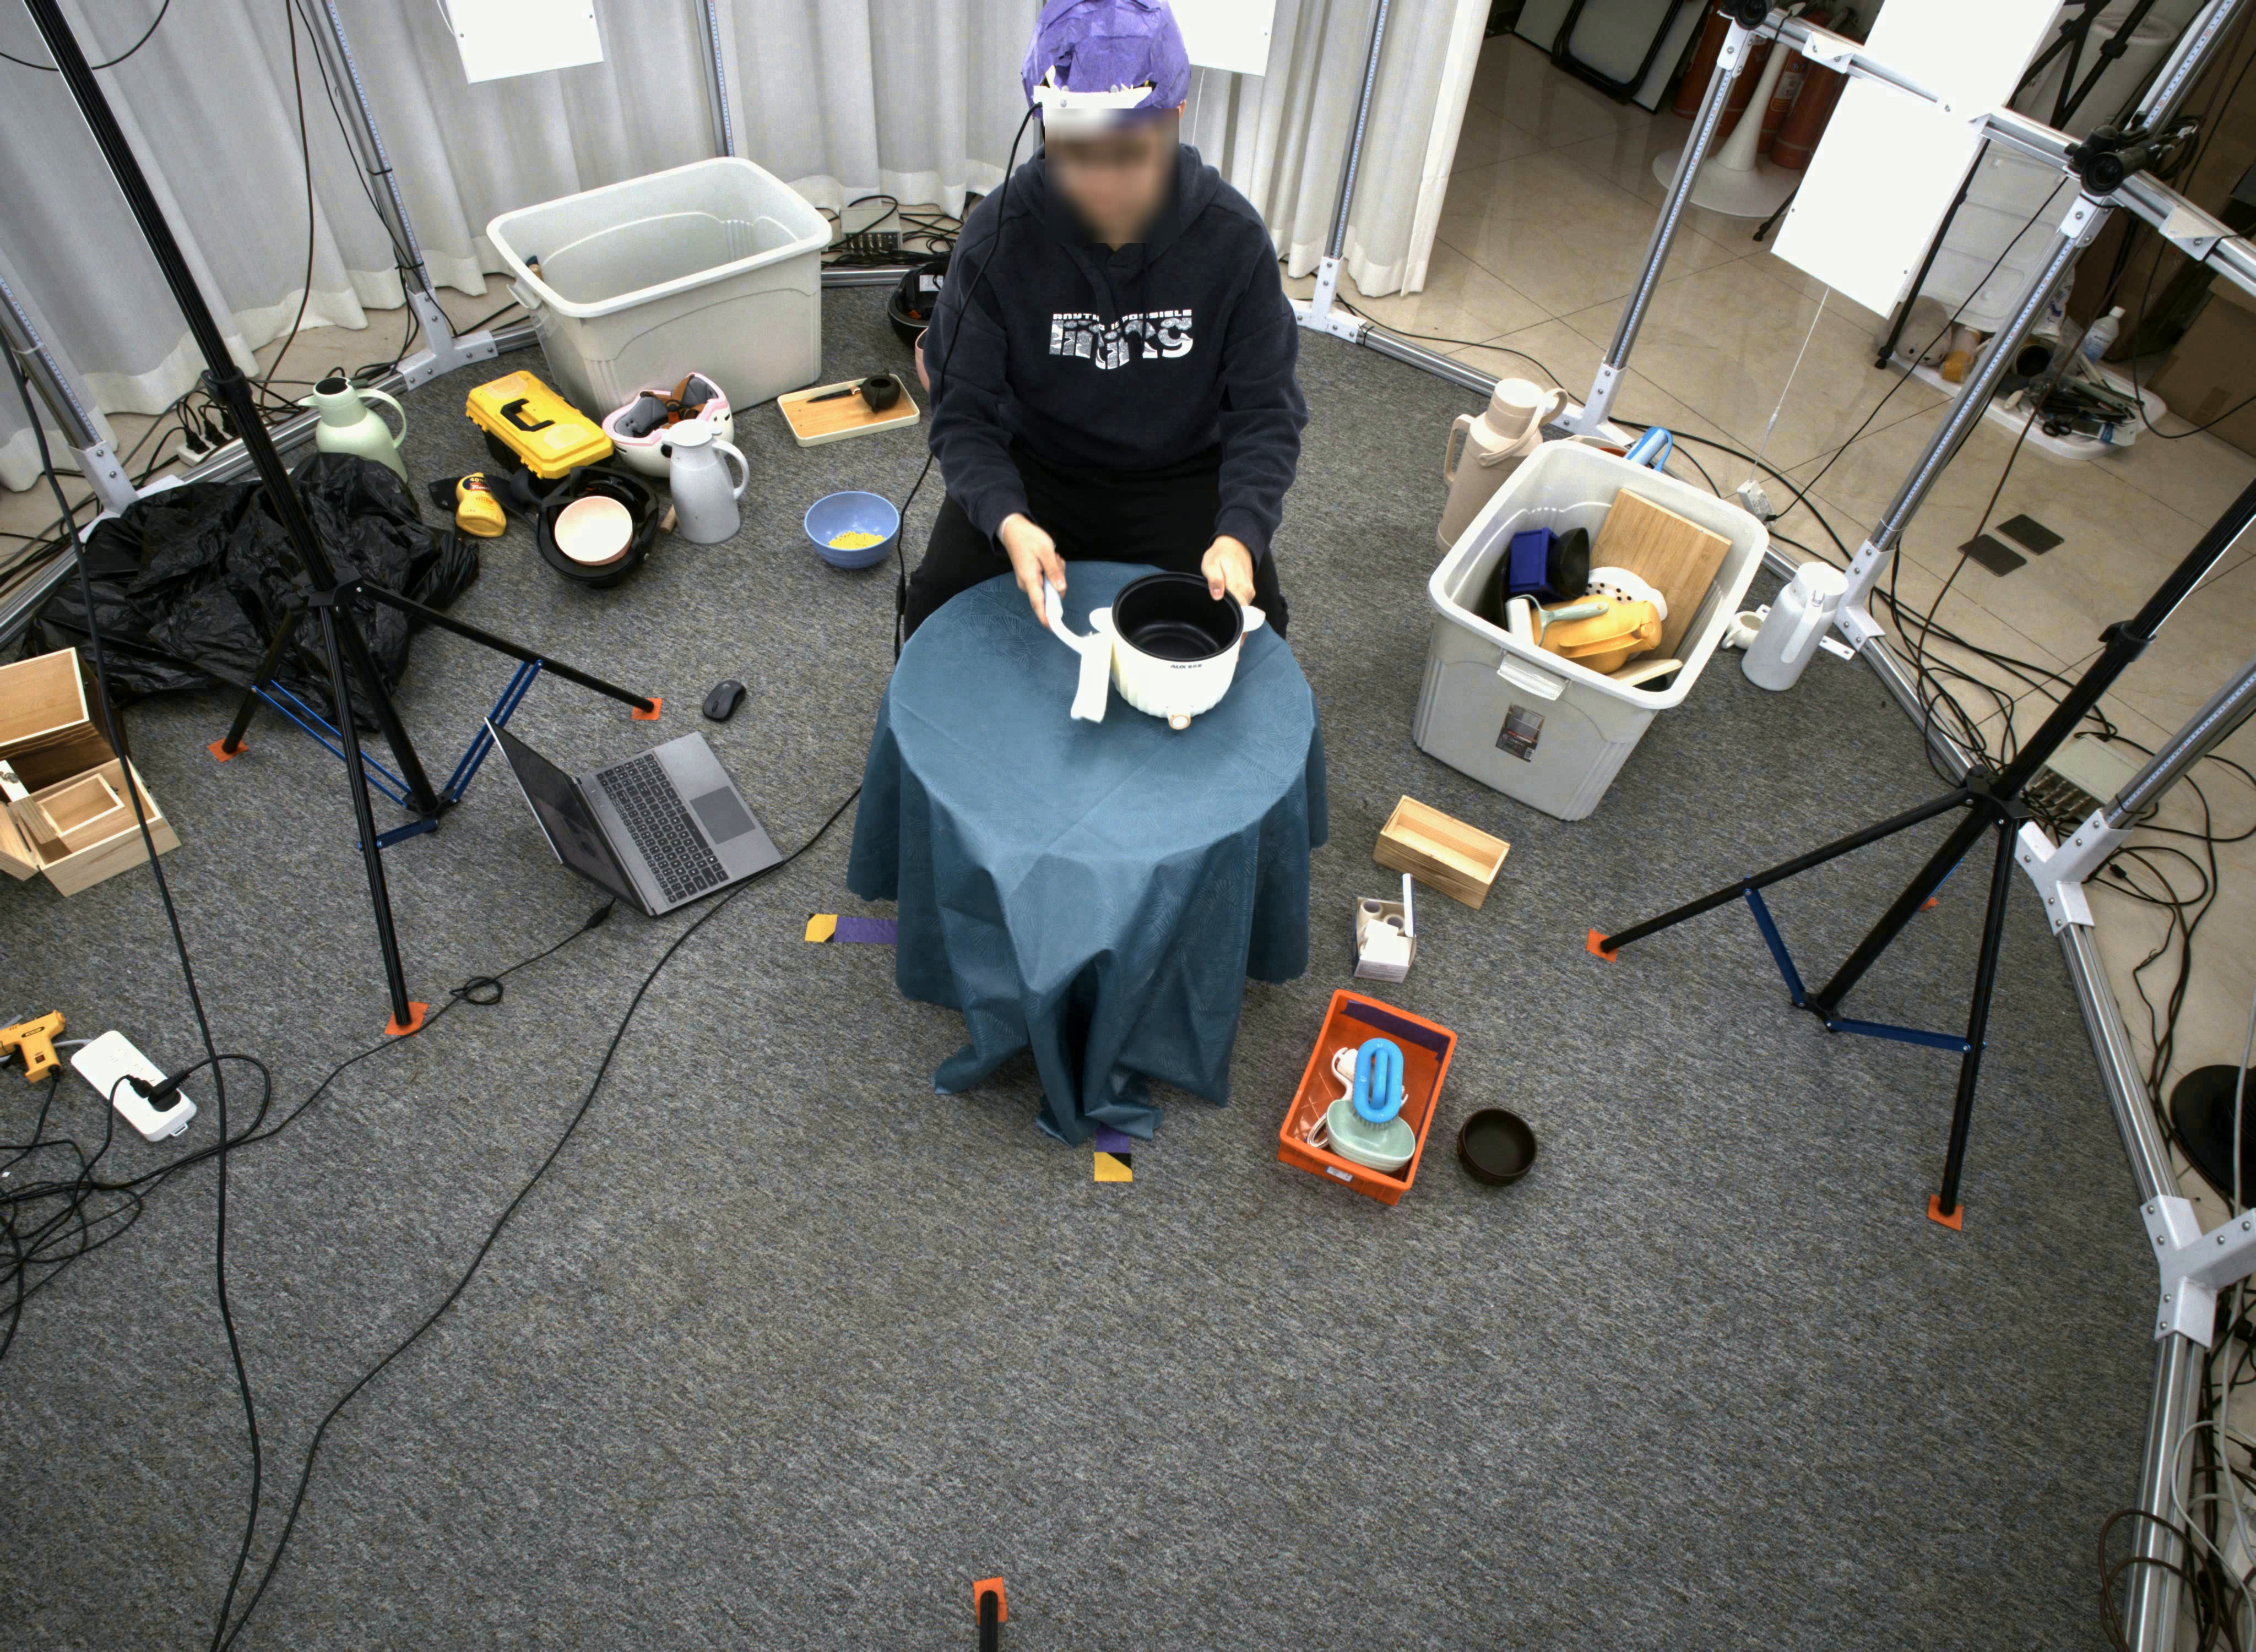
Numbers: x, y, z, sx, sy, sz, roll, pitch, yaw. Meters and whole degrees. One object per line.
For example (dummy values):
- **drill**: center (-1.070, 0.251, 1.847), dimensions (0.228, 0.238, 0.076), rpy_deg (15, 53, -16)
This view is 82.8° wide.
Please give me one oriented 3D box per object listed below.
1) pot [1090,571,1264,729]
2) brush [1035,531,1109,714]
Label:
- **pot**: center (0.065, -0.242, 1.791), dimensions (0.240, 0.139, 0.195), rpy_deg (-3, 46, -6)
- **brush**: center (-0.063, -0.295, 1.805), dimensions (0.083, 0.082, 0.333), rpy_deg (20, 47, -37)
